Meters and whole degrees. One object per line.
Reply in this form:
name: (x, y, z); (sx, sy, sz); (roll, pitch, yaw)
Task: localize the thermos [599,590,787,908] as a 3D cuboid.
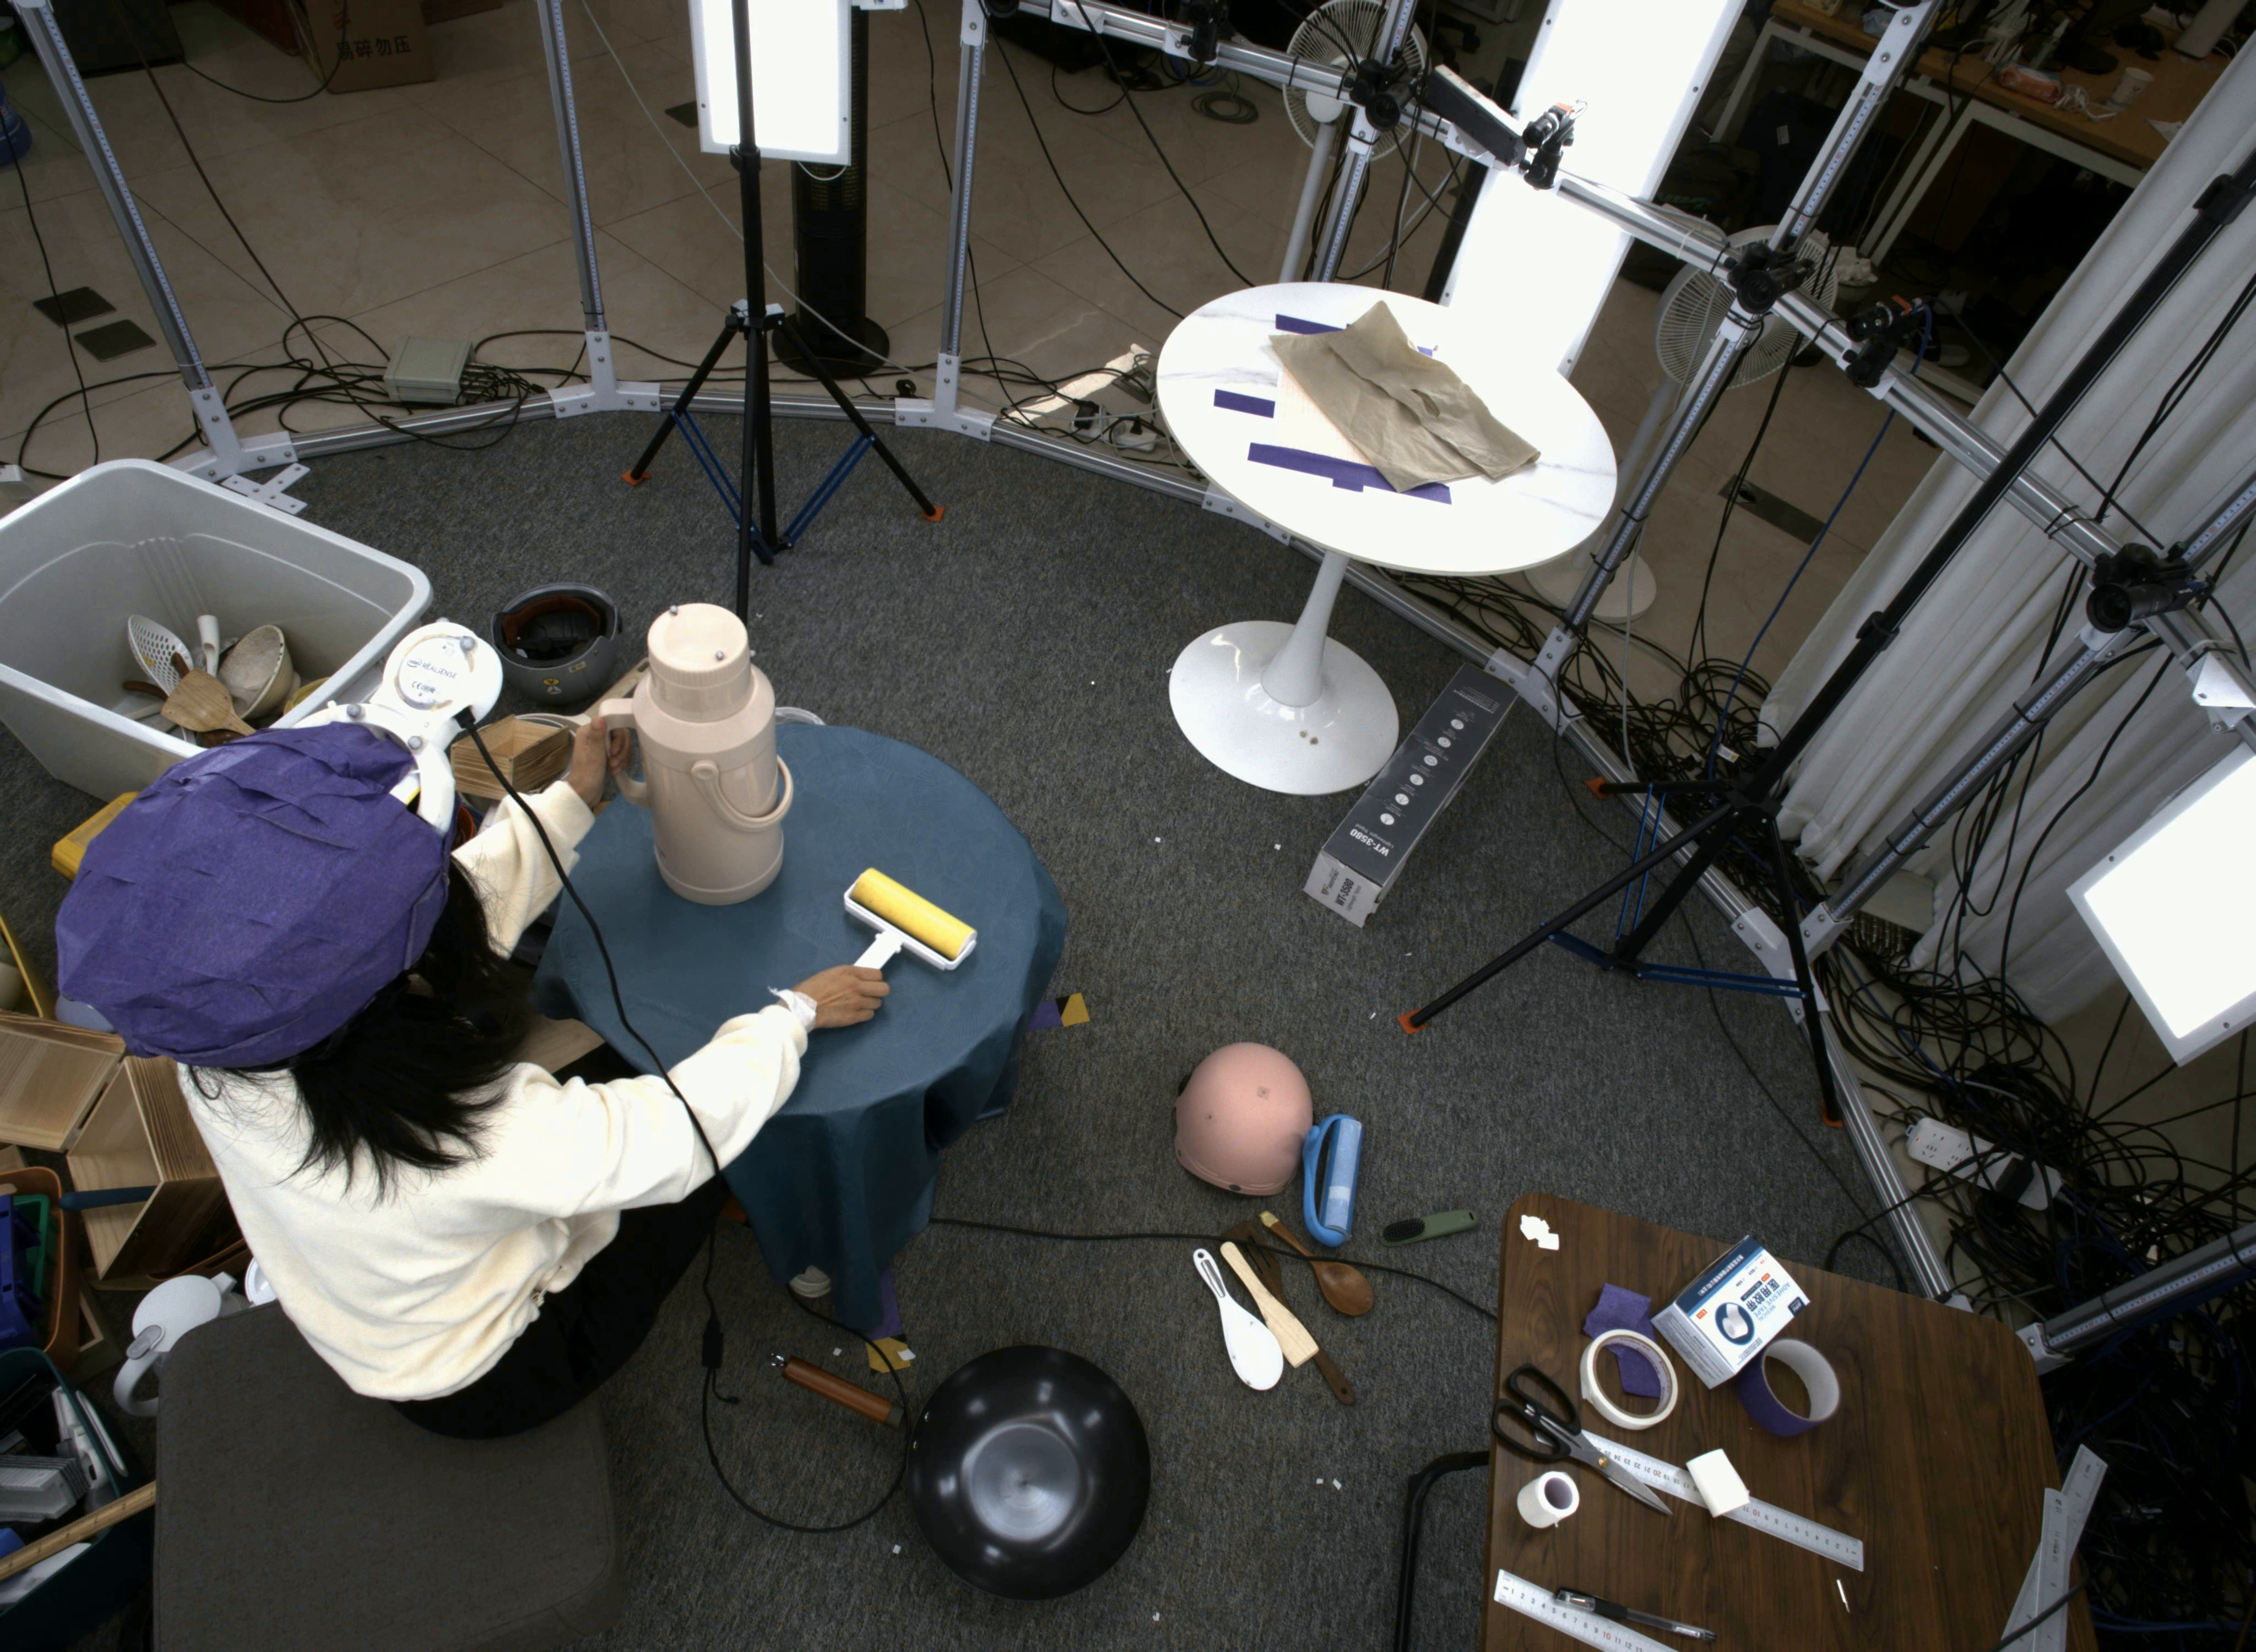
thermos: (-0.507, -0.087, 1.505); (0.207, 0.415, 0.171); (-4, 54, -15)

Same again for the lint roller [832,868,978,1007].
lint roller: (-0.300, 0.146, 1.597); (0.171, 0.052, 0.191); (29, 38, 9)
